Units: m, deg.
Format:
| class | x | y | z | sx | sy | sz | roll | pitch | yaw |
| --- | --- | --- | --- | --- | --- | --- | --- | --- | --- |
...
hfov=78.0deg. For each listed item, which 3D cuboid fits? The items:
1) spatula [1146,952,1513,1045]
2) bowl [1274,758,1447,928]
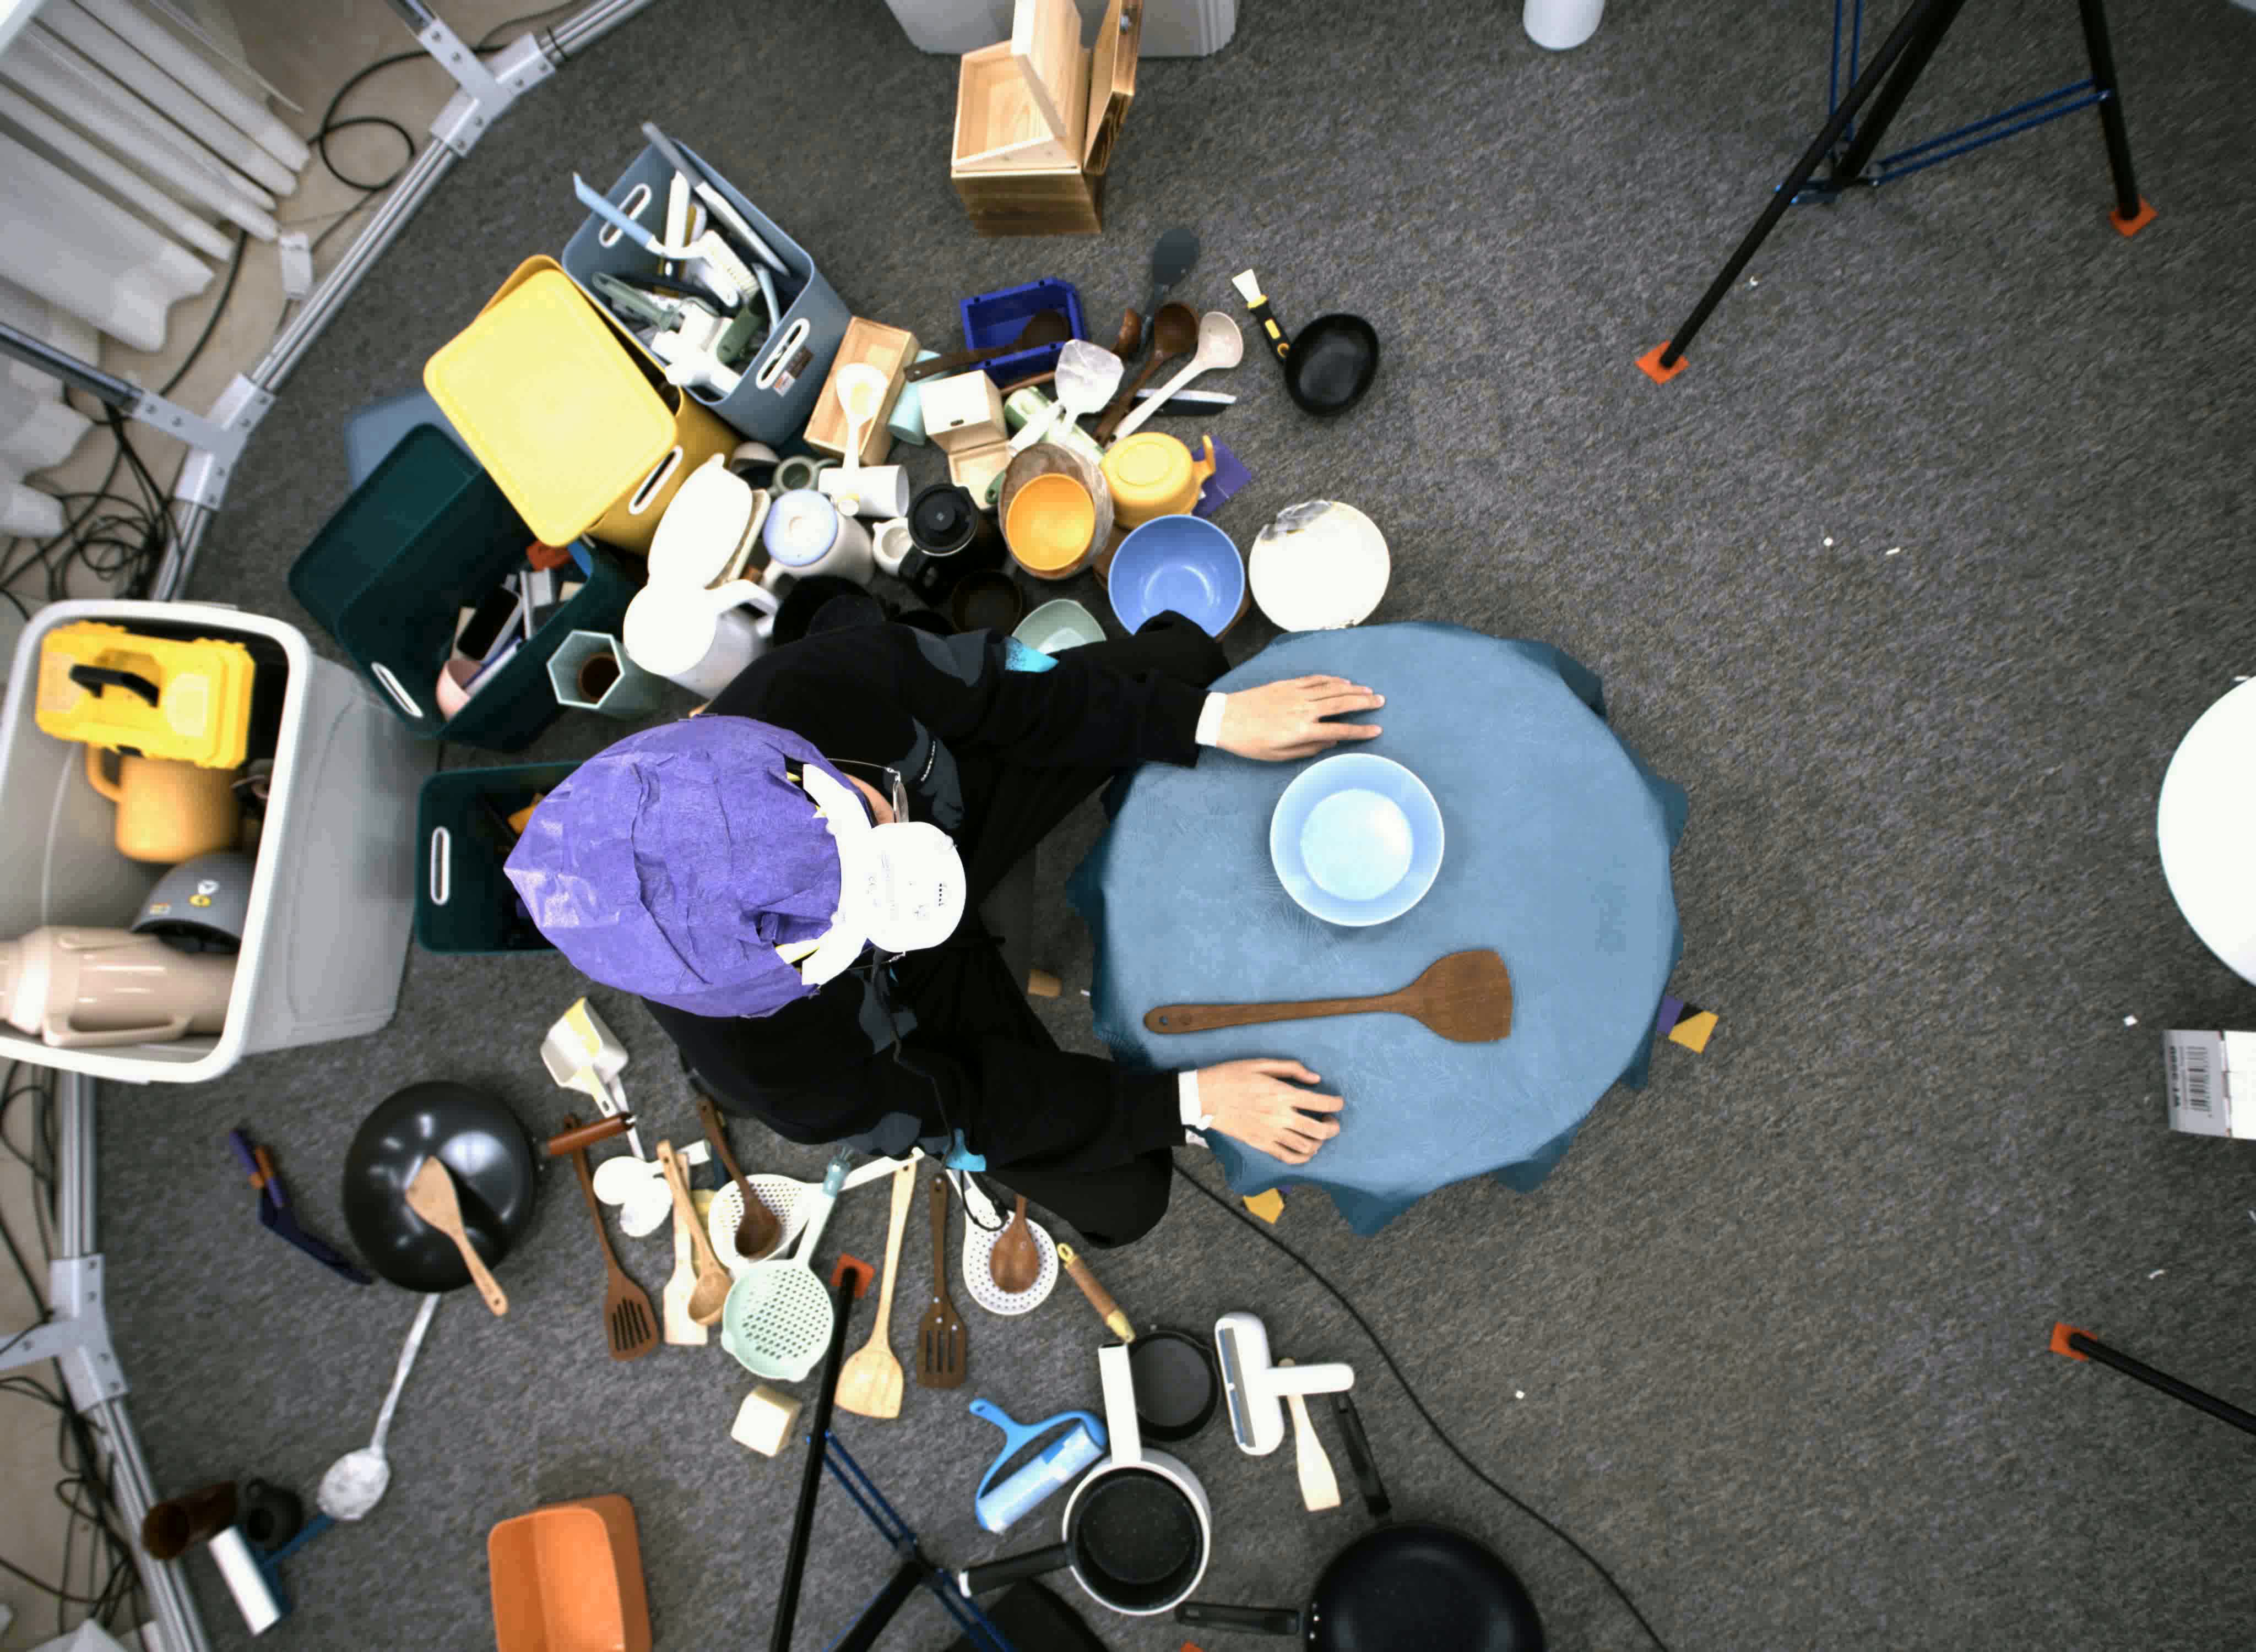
| class | x | y | z | sx | sy | sz | roll | pitch | yaw |
| --- | --- | --- | --- | --- | --- | --- | --- | --- | --- |
| spatula | 0.209 | 0.194 | 1.461 | 0.388 | 0.016 | 0.095 | -6 | 85 | 10 |
| bowl | 0.242 | 0.019 | 1.439 | 0.177 | 0.070 | 0.175 | -1 | 85 | 12 |
